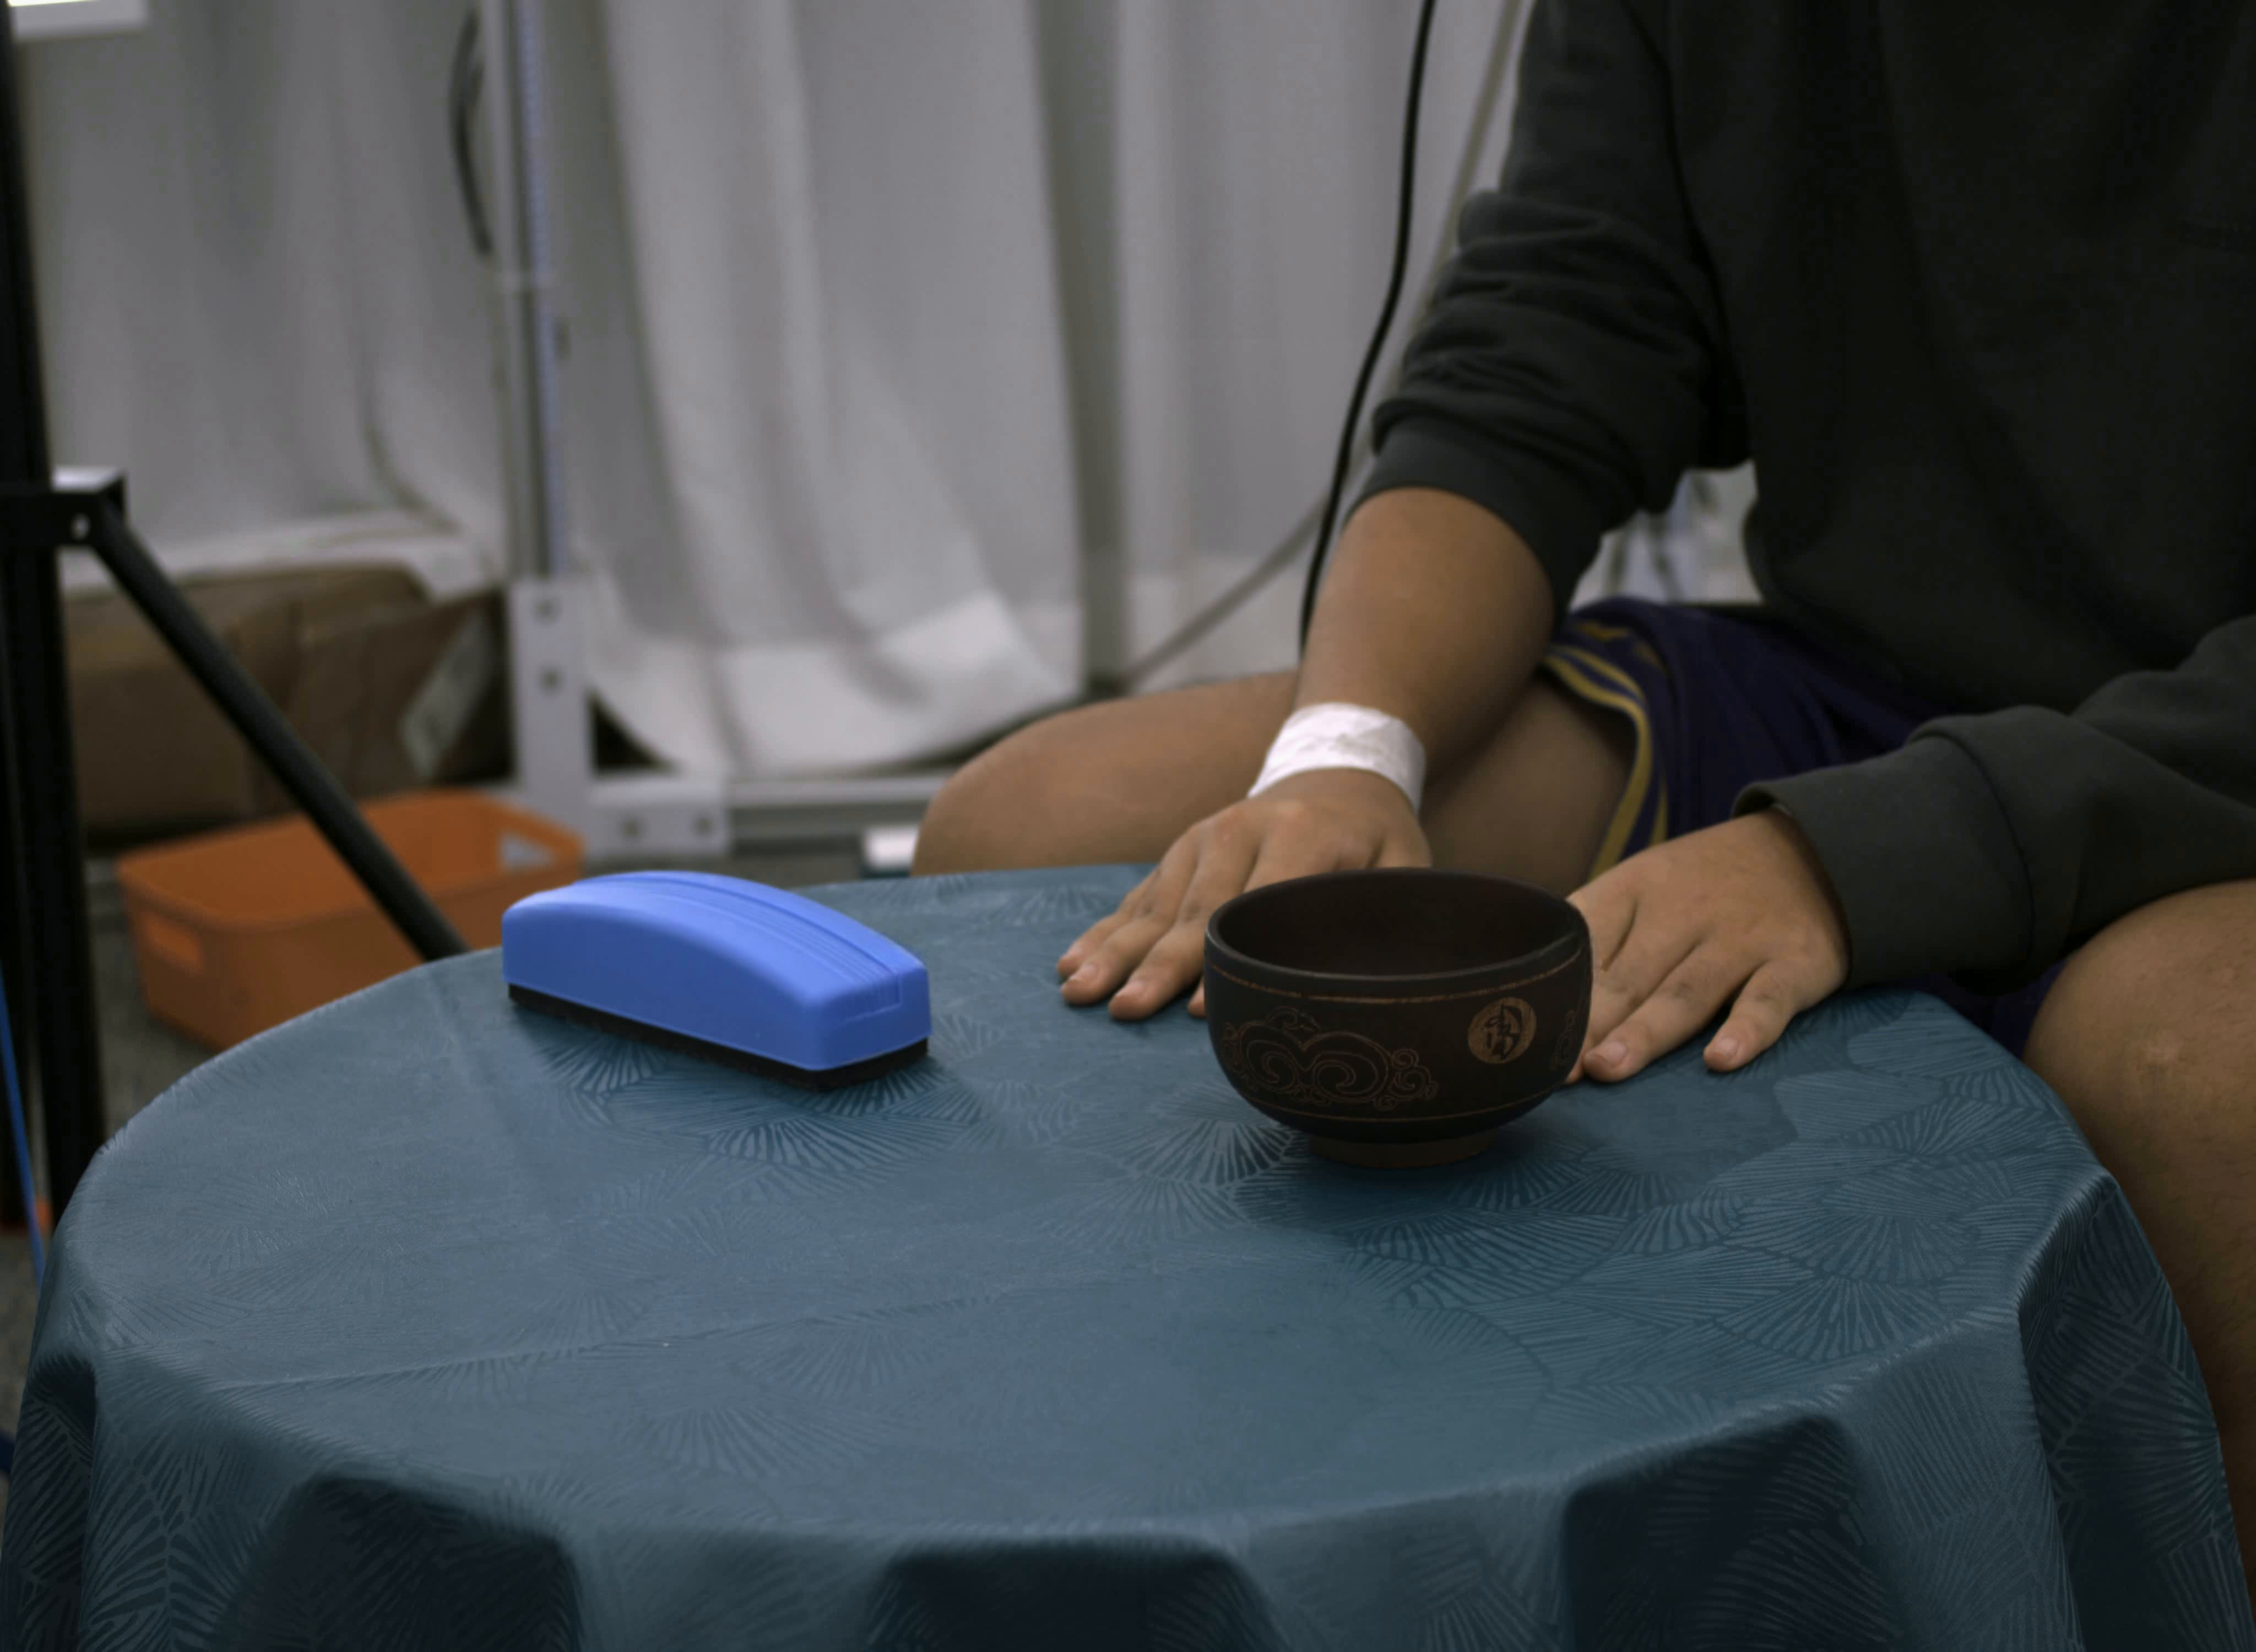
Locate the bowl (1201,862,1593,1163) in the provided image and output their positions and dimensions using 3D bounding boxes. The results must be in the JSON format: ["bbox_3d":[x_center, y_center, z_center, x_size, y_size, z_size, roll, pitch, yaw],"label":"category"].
[{"bbox_3d":[0.081,0.059,1.584,0.117,0.070,0.118,-3,14,-1],"label":"bowl"}]

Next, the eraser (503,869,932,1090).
[{"bbox_3d":[-0.135,0.044,1.725,0.166,0.047,0.052,13,23,43],"label":"eraser"}]
